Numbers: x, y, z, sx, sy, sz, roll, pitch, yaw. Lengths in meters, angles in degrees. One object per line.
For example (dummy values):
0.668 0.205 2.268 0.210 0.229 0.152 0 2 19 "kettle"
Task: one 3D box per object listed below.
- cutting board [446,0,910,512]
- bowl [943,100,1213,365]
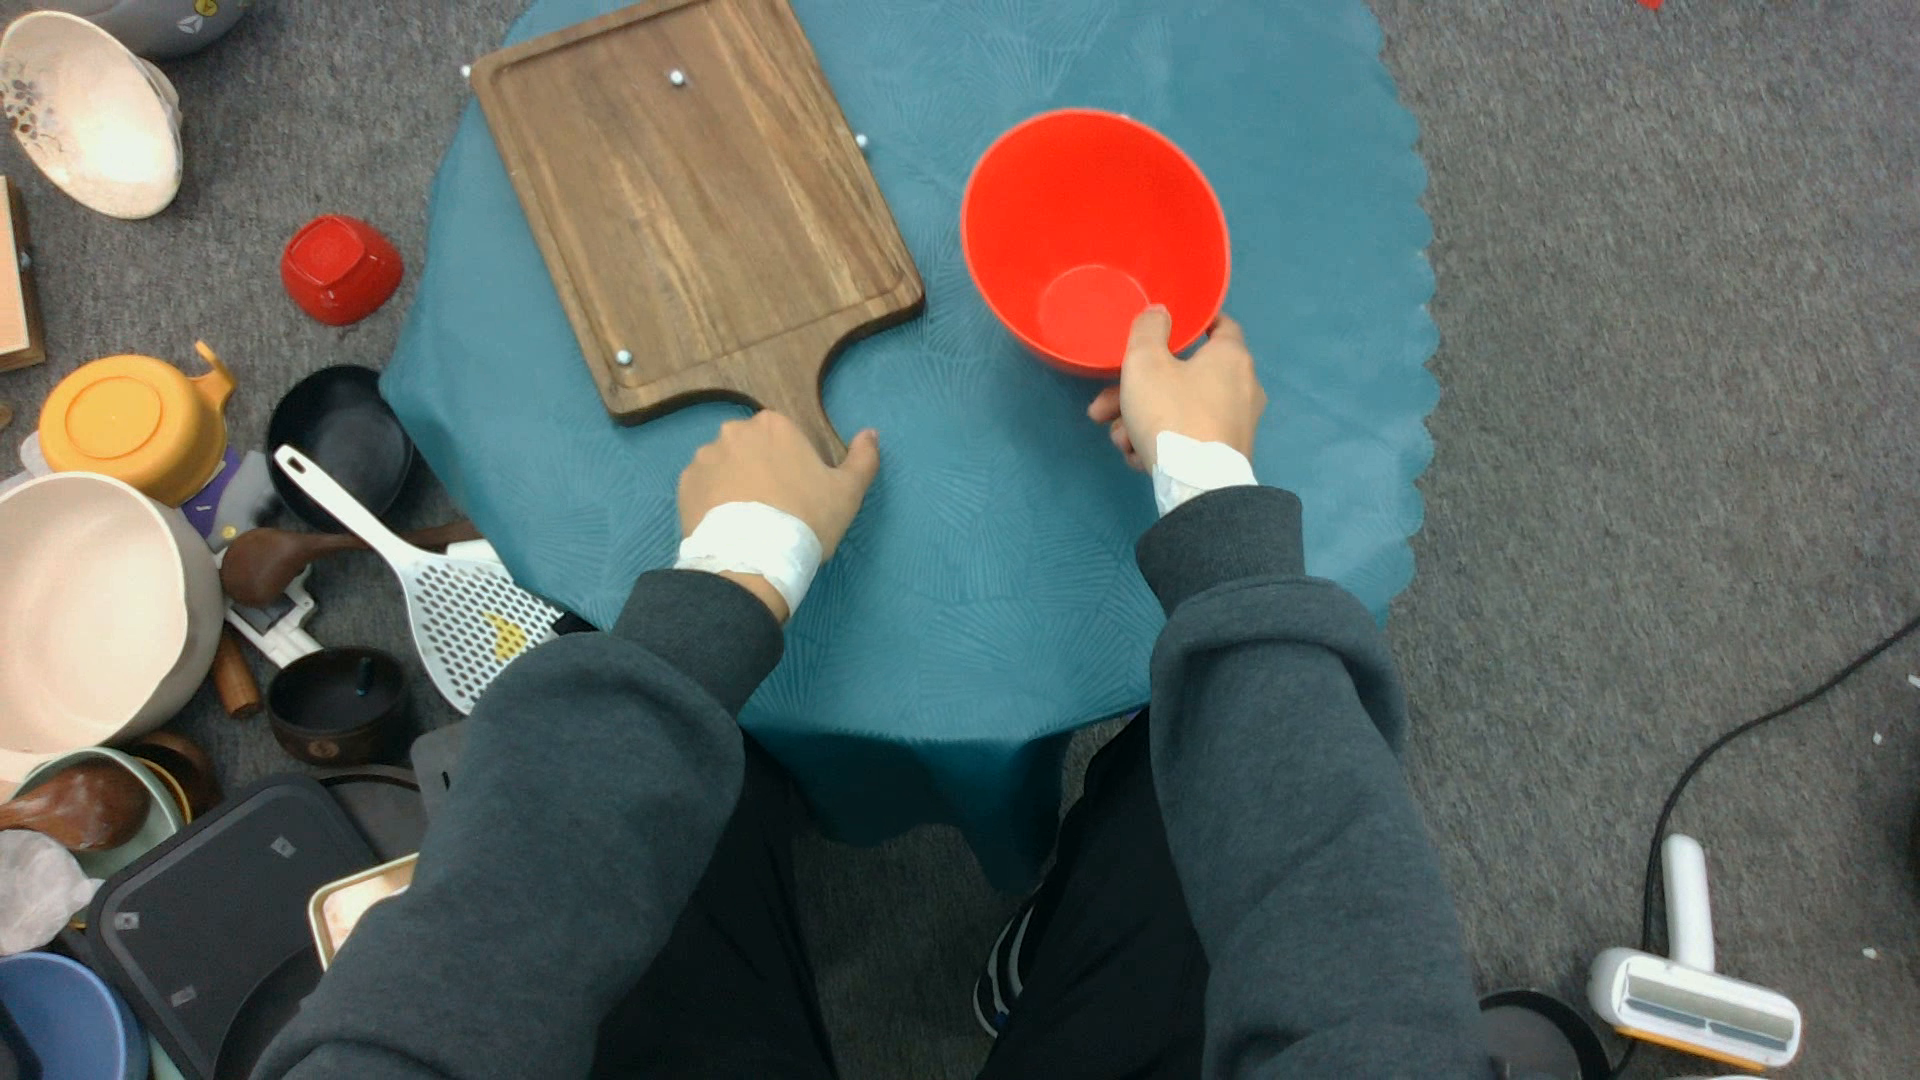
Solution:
-0.148 -0.172 0.805 0.201 0.023 0.352 -23 76 -10 "cutting board"
0.063 -0.157 0.772 0.148 0.104 0.148 1 73 -3 "bowl"
